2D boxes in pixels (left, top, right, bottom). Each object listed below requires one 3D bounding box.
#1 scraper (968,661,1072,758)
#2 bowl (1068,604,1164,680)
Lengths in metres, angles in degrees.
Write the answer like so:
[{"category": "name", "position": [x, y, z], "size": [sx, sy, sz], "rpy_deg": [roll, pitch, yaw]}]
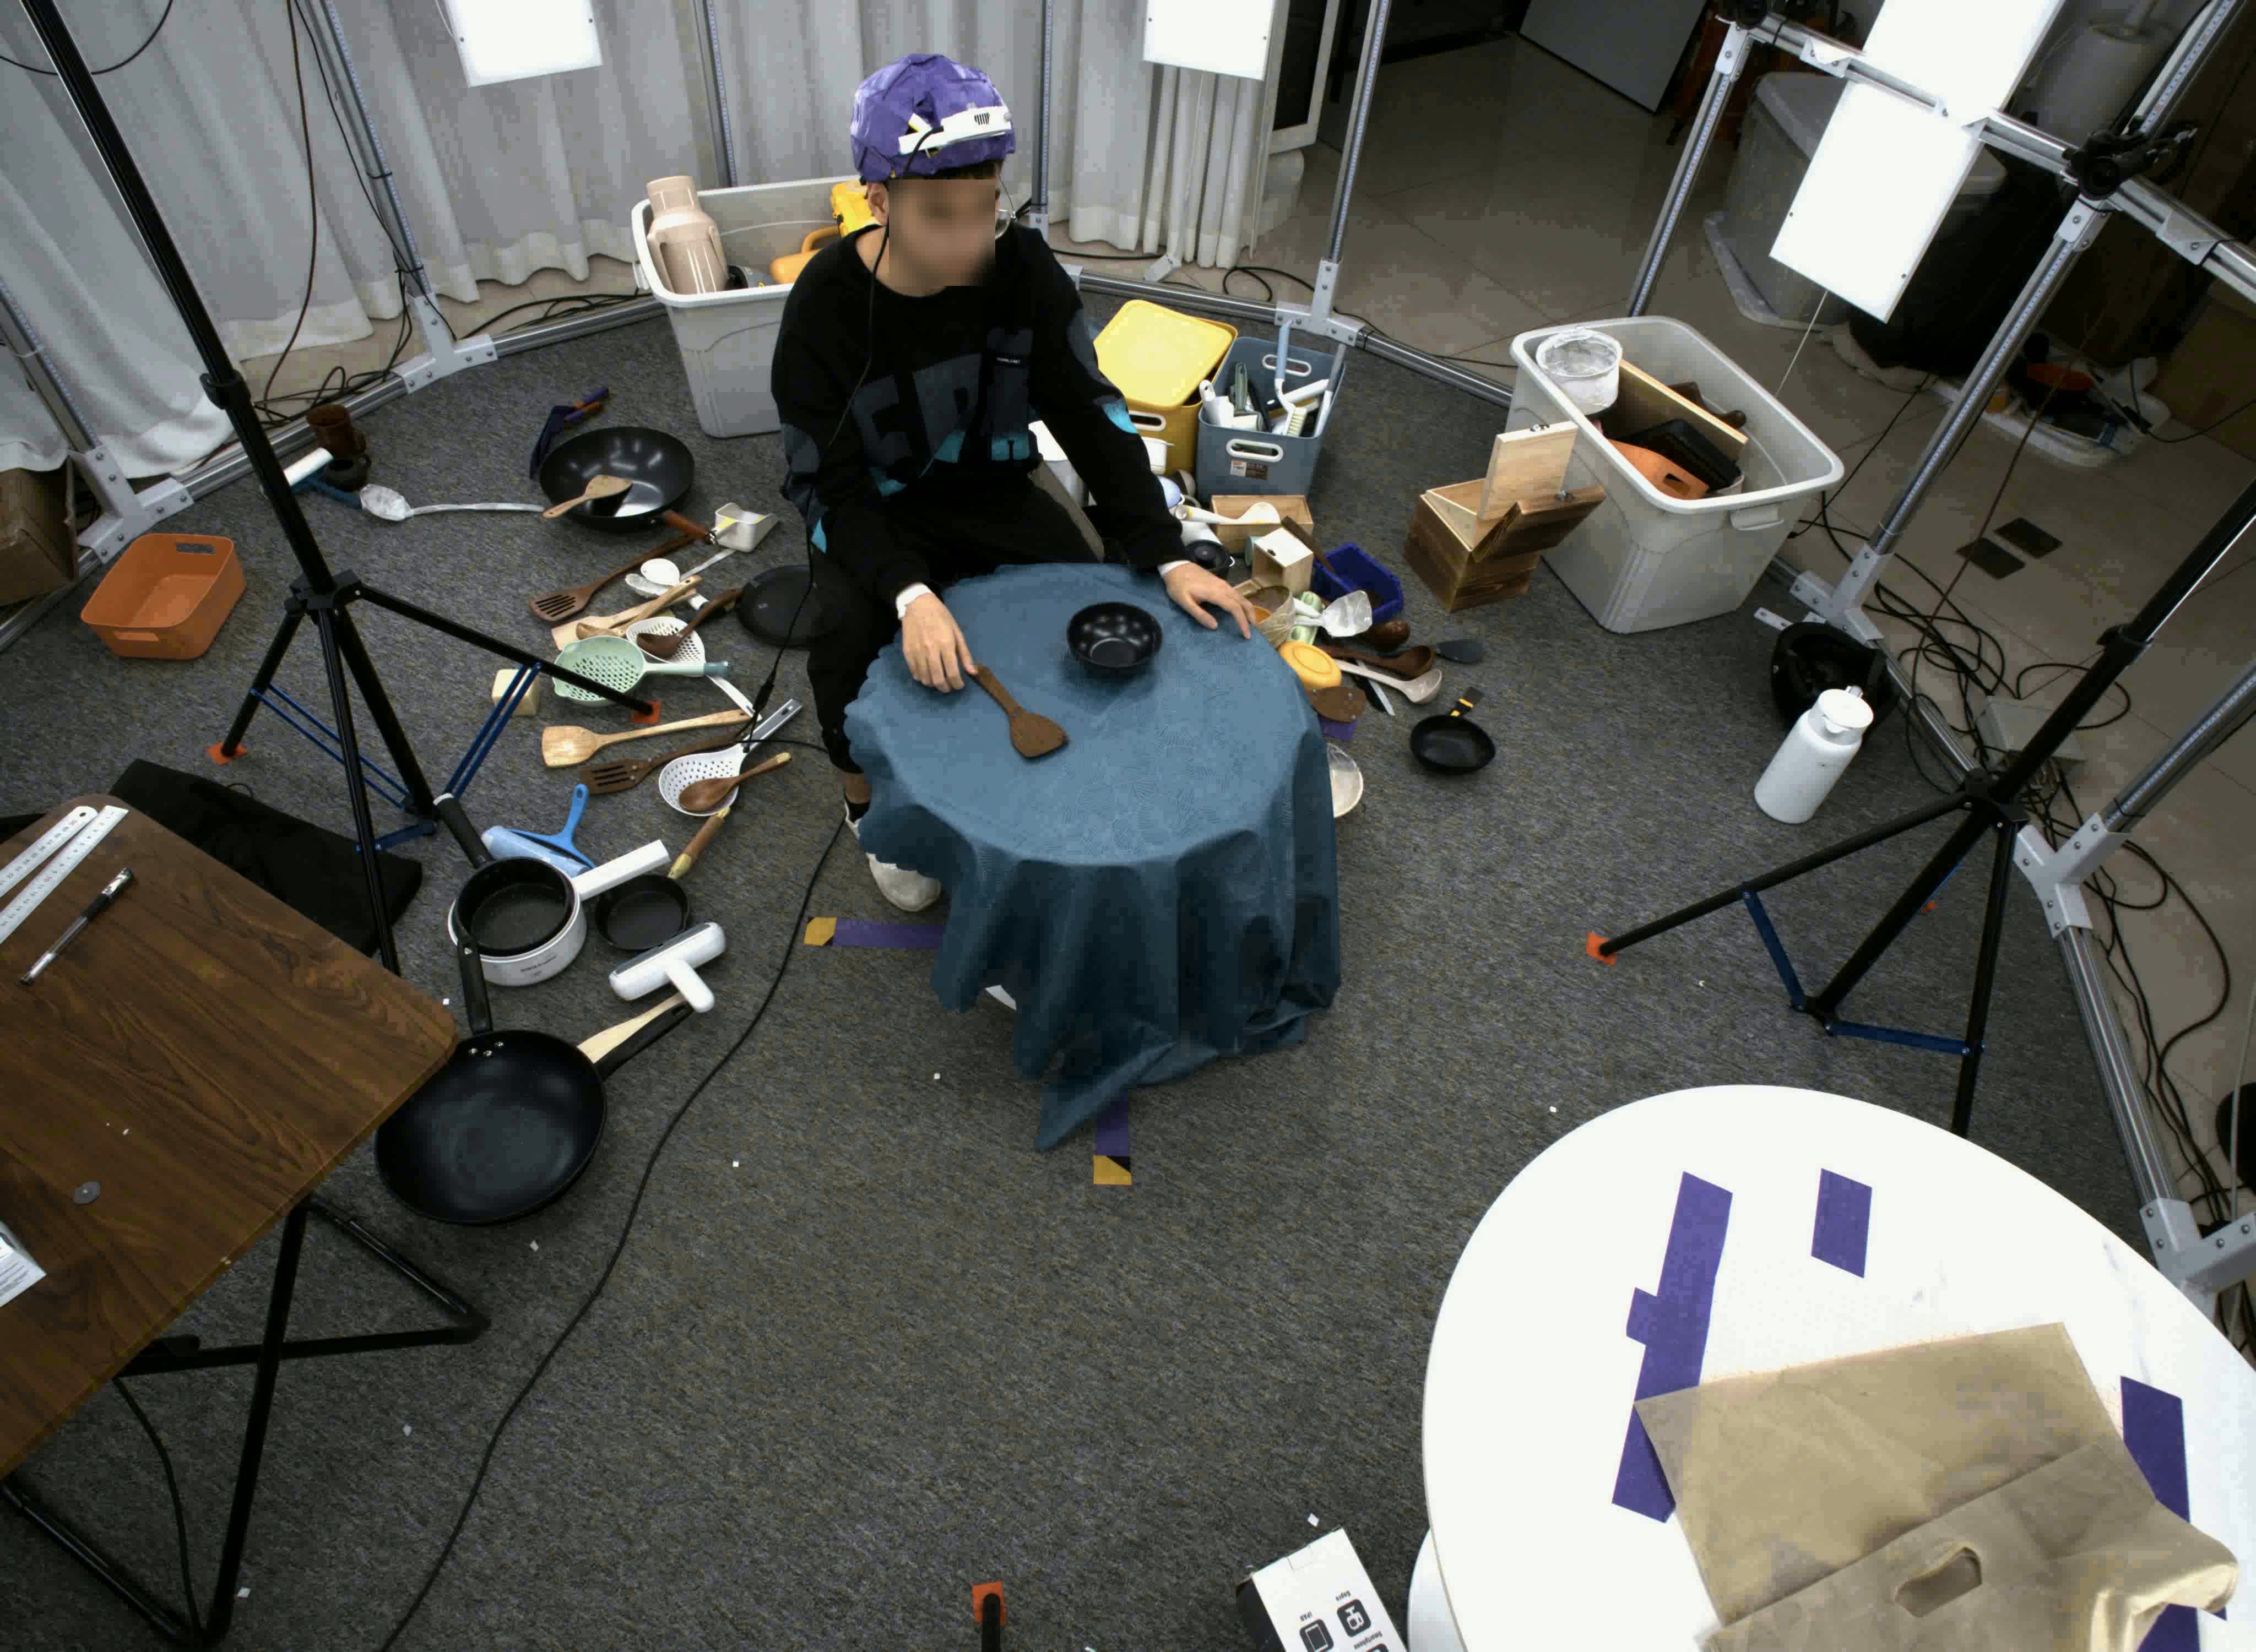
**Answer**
[{"category": "scraper", "position": [-0.163, -0.168, 1.815], "size": [0.076, 0.010, 0.215], "rpy_deg": [-25, 54, -25]}, {"category": "bowl", "position": [-0.018, -0.261, 1.879], "size": [0.140, 0.048, 0.143], "rpy_deg": [0, 50, -1]}]
